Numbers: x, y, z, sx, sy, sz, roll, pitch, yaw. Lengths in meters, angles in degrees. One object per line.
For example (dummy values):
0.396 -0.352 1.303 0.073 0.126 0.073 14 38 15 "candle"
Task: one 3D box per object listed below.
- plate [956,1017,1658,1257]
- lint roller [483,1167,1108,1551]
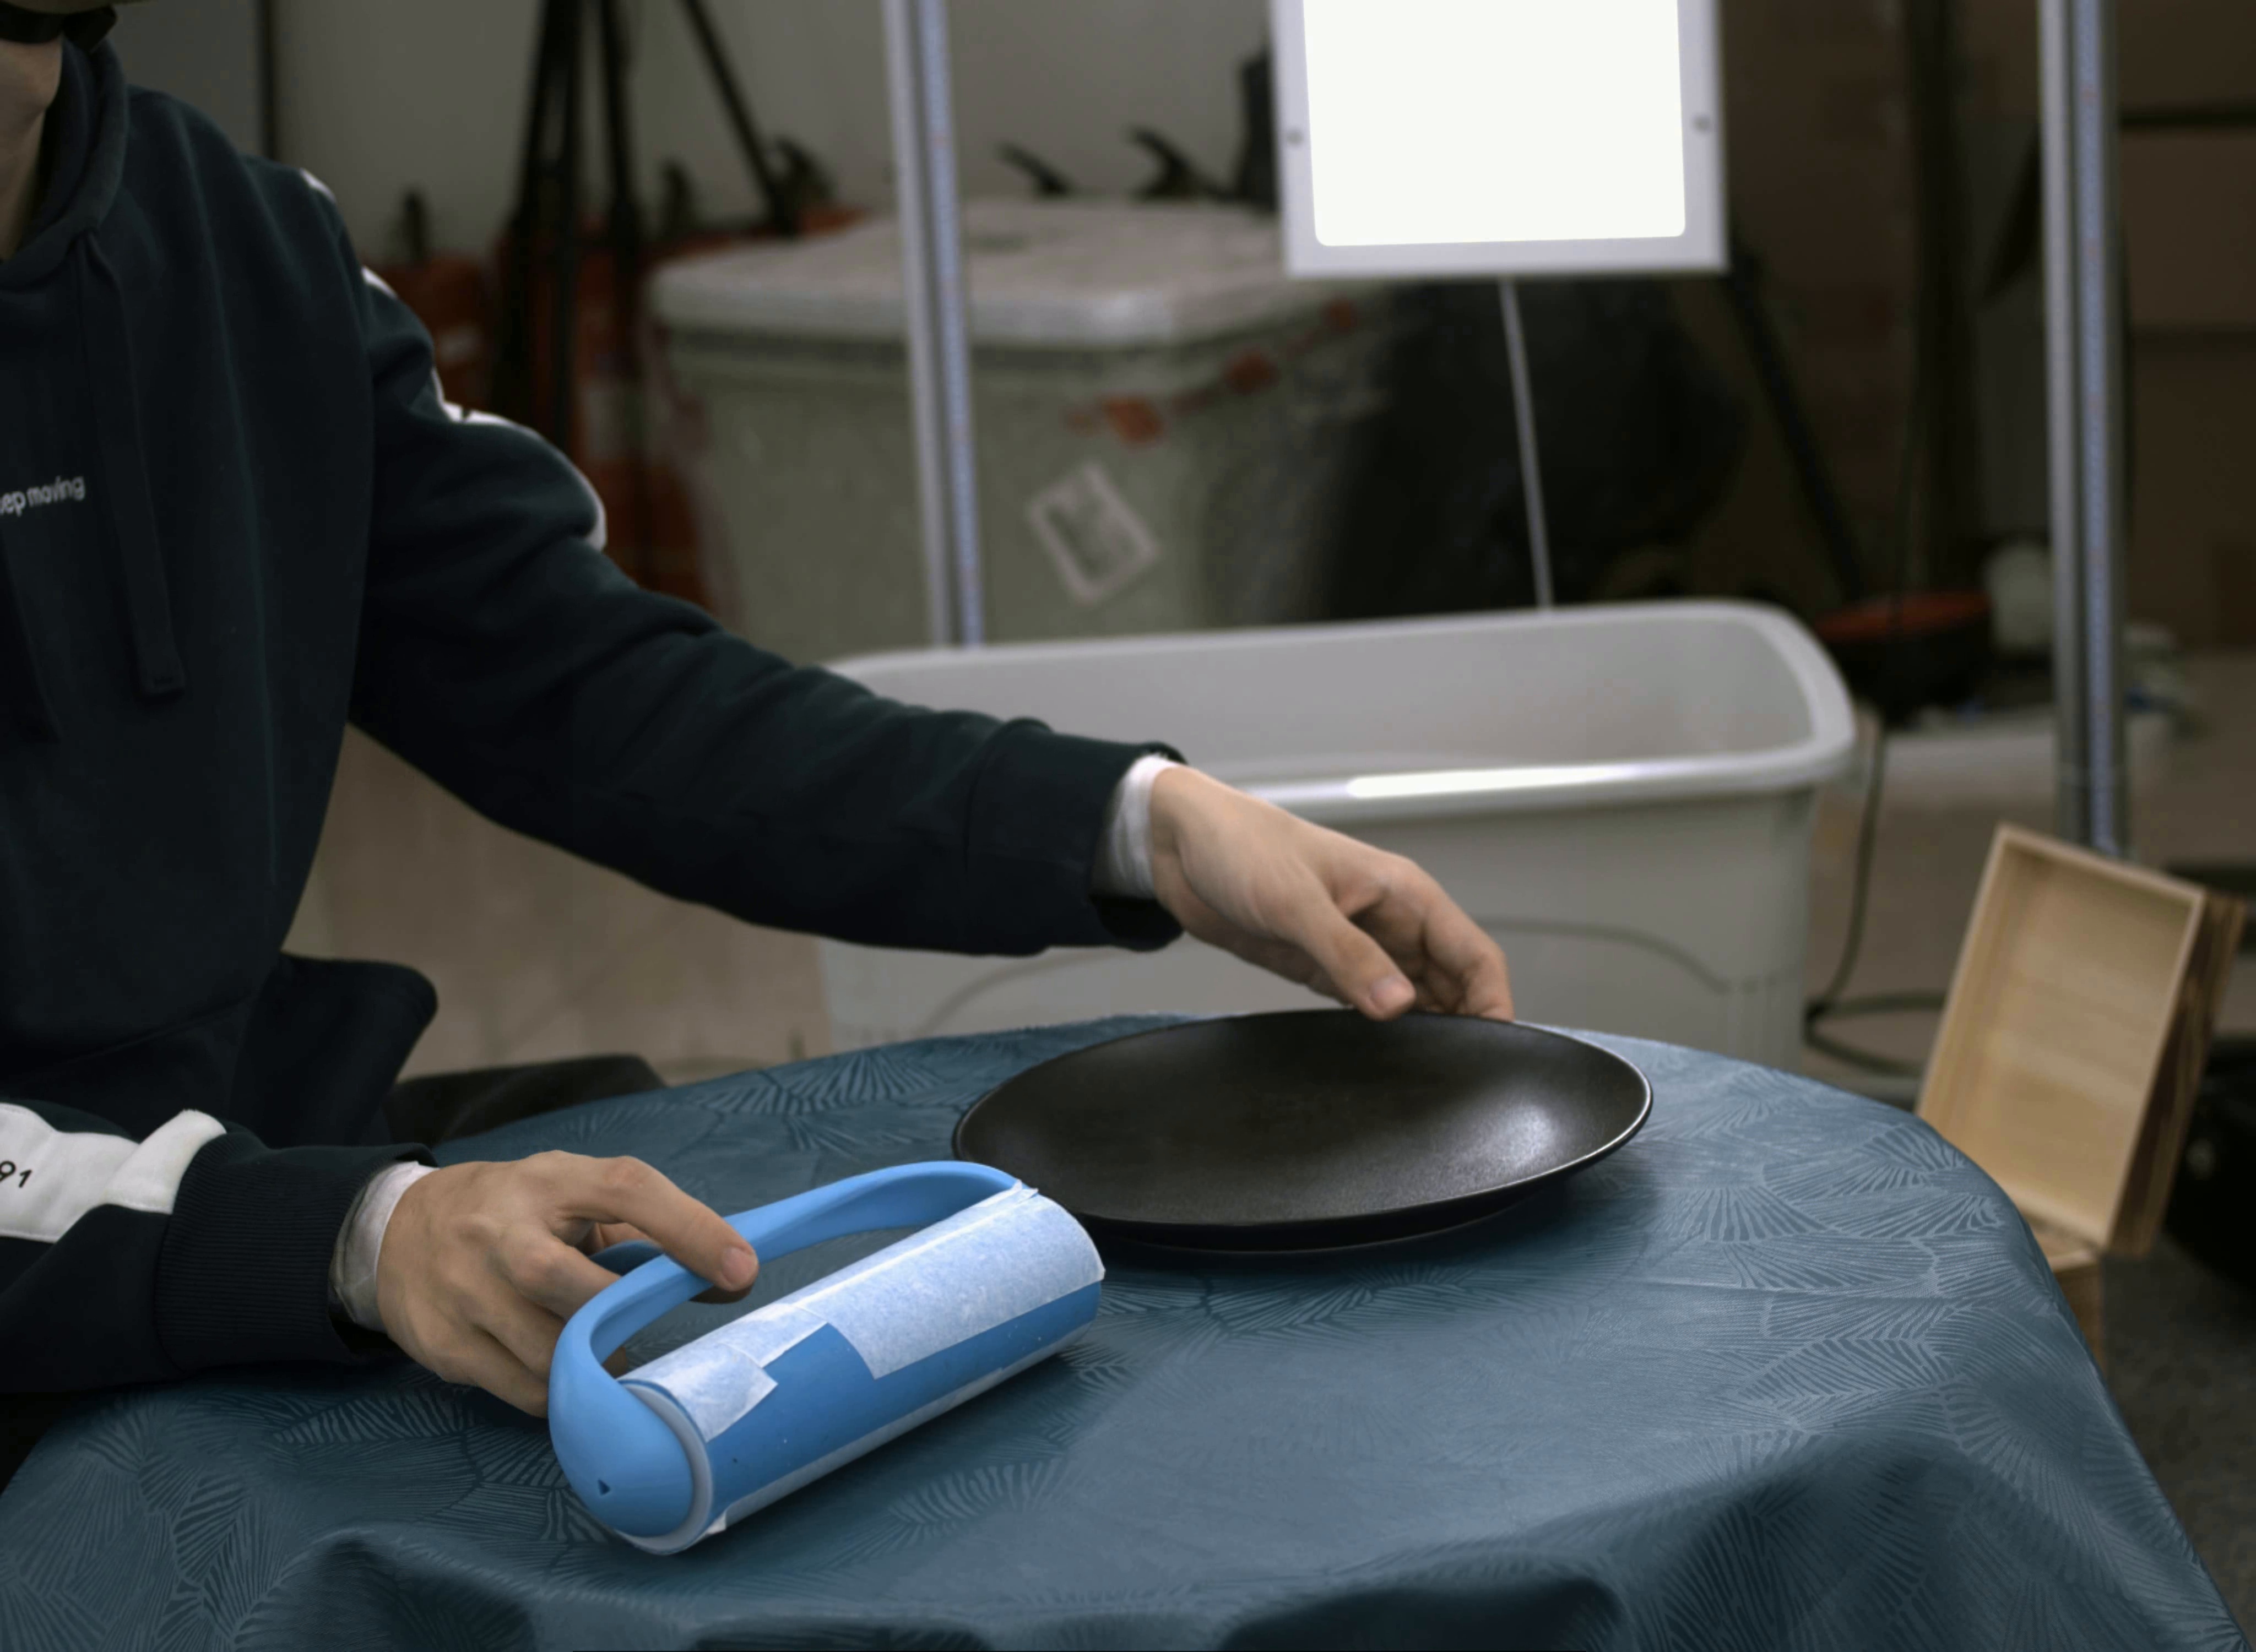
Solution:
0.062 0.109 1.897 0.244 0.023 0.244 -5 14 0 "plate"
-0.131 0.158 1.699 0.184 0.068 0.223 3 17 34 "lint roller"
